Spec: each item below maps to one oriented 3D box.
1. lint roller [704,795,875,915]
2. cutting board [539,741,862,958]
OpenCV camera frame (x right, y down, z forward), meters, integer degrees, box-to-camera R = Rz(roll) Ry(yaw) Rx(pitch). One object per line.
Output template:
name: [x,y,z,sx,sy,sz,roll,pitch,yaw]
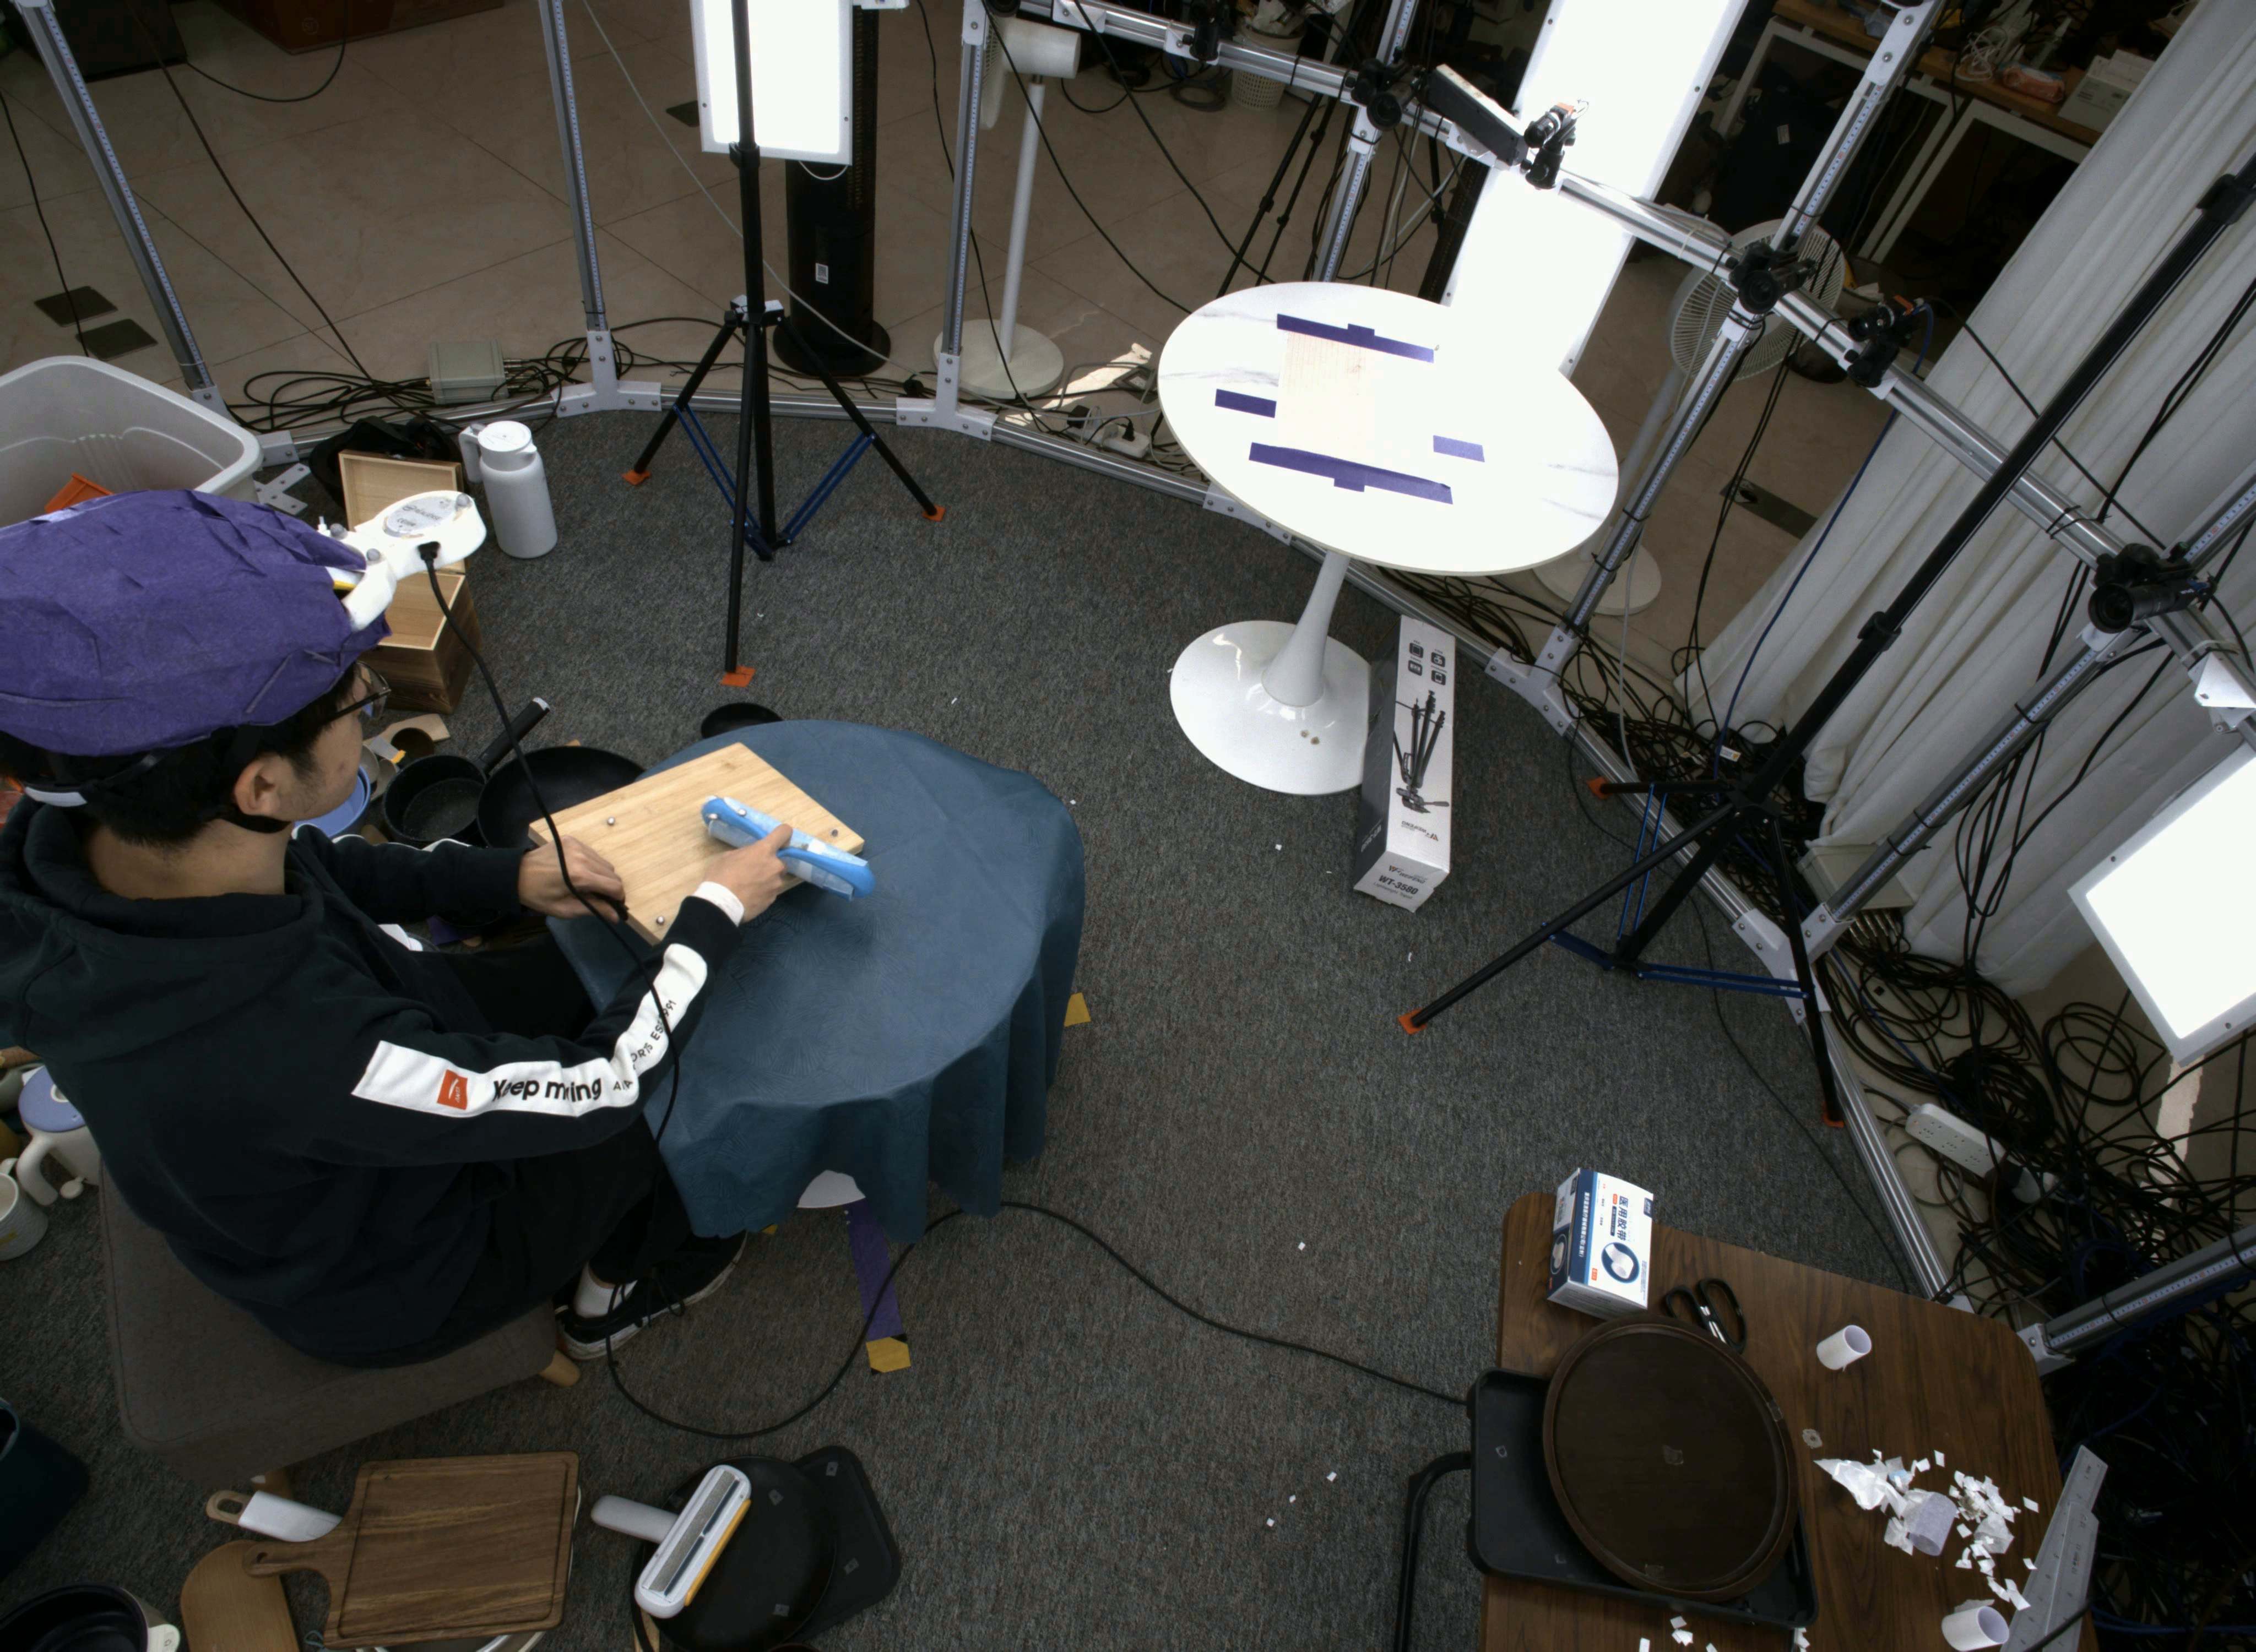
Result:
lint roller: [-0.427,0.044,1.554,0.229,0.069,0.178,26,21,-5]
cutting board: [-0.533,0.016,1.609,0.246,0.024,0.350,37,35,13]
